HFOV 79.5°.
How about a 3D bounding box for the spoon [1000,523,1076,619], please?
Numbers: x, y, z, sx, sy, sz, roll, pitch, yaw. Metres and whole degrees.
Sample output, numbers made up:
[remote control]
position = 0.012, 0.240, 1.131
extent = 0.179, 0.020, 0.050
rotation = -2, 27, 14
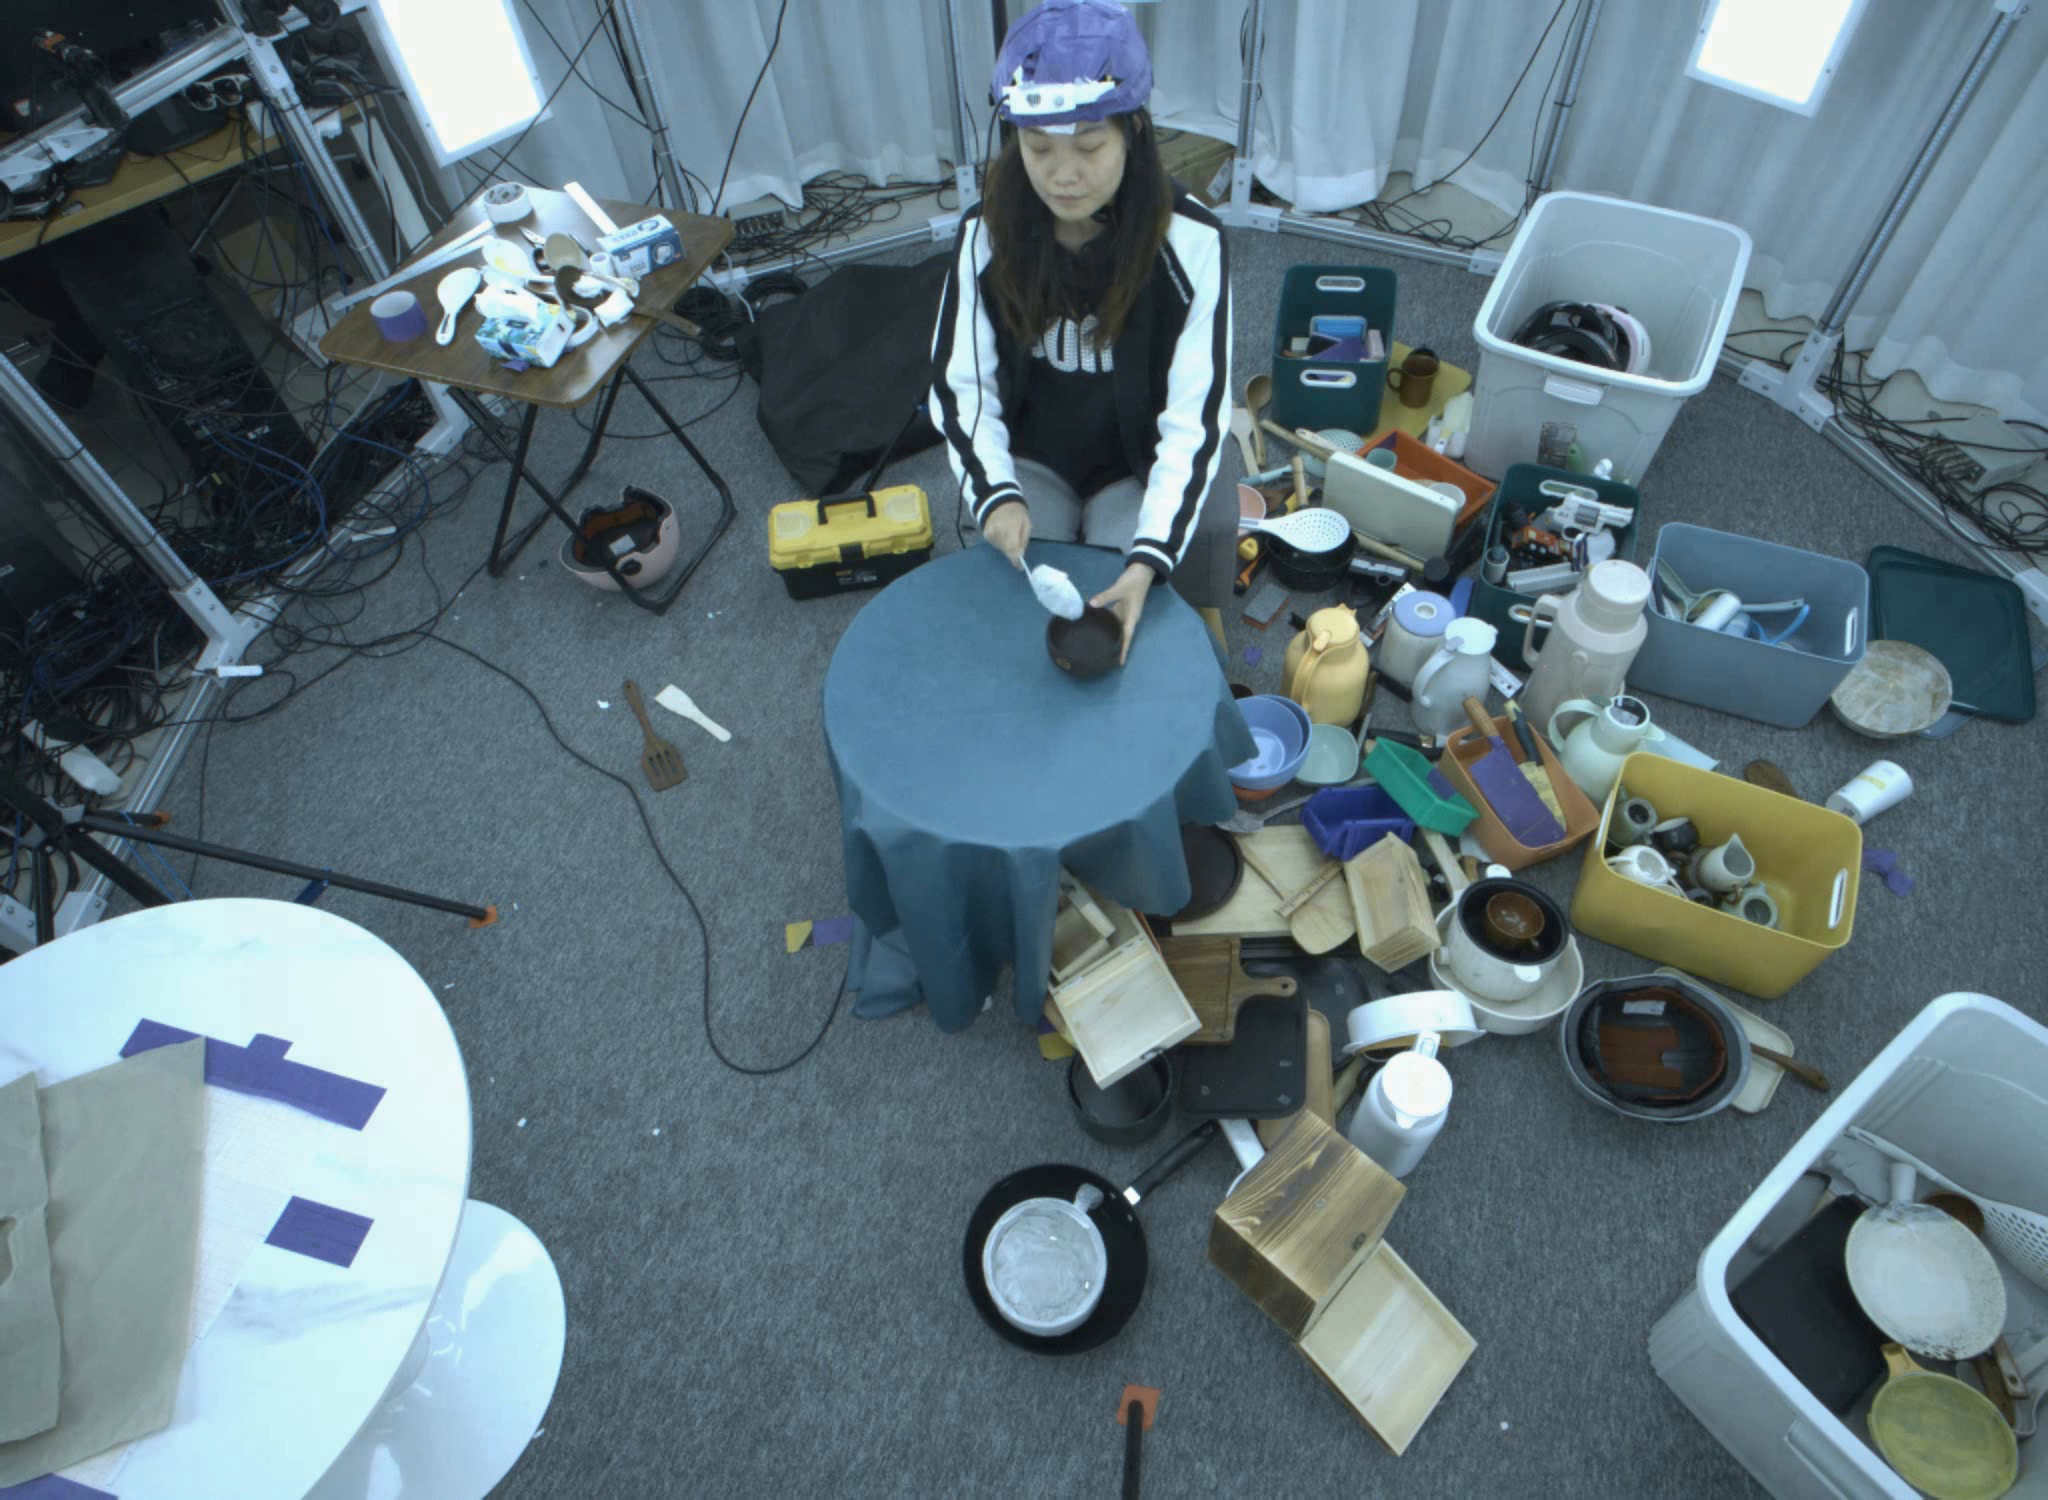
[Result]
[spoon]
position = 0.018, -0.281, 1.832
extent = 0.059, 0.102, 0.272
rotation = -19, 38, 0

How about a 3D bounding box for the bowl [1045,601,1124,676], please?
[bowl]
position = 0.091, -0.160, 1.853
extent = 0.118, 0.070, 0.117
rotation = 0, 55, 2
